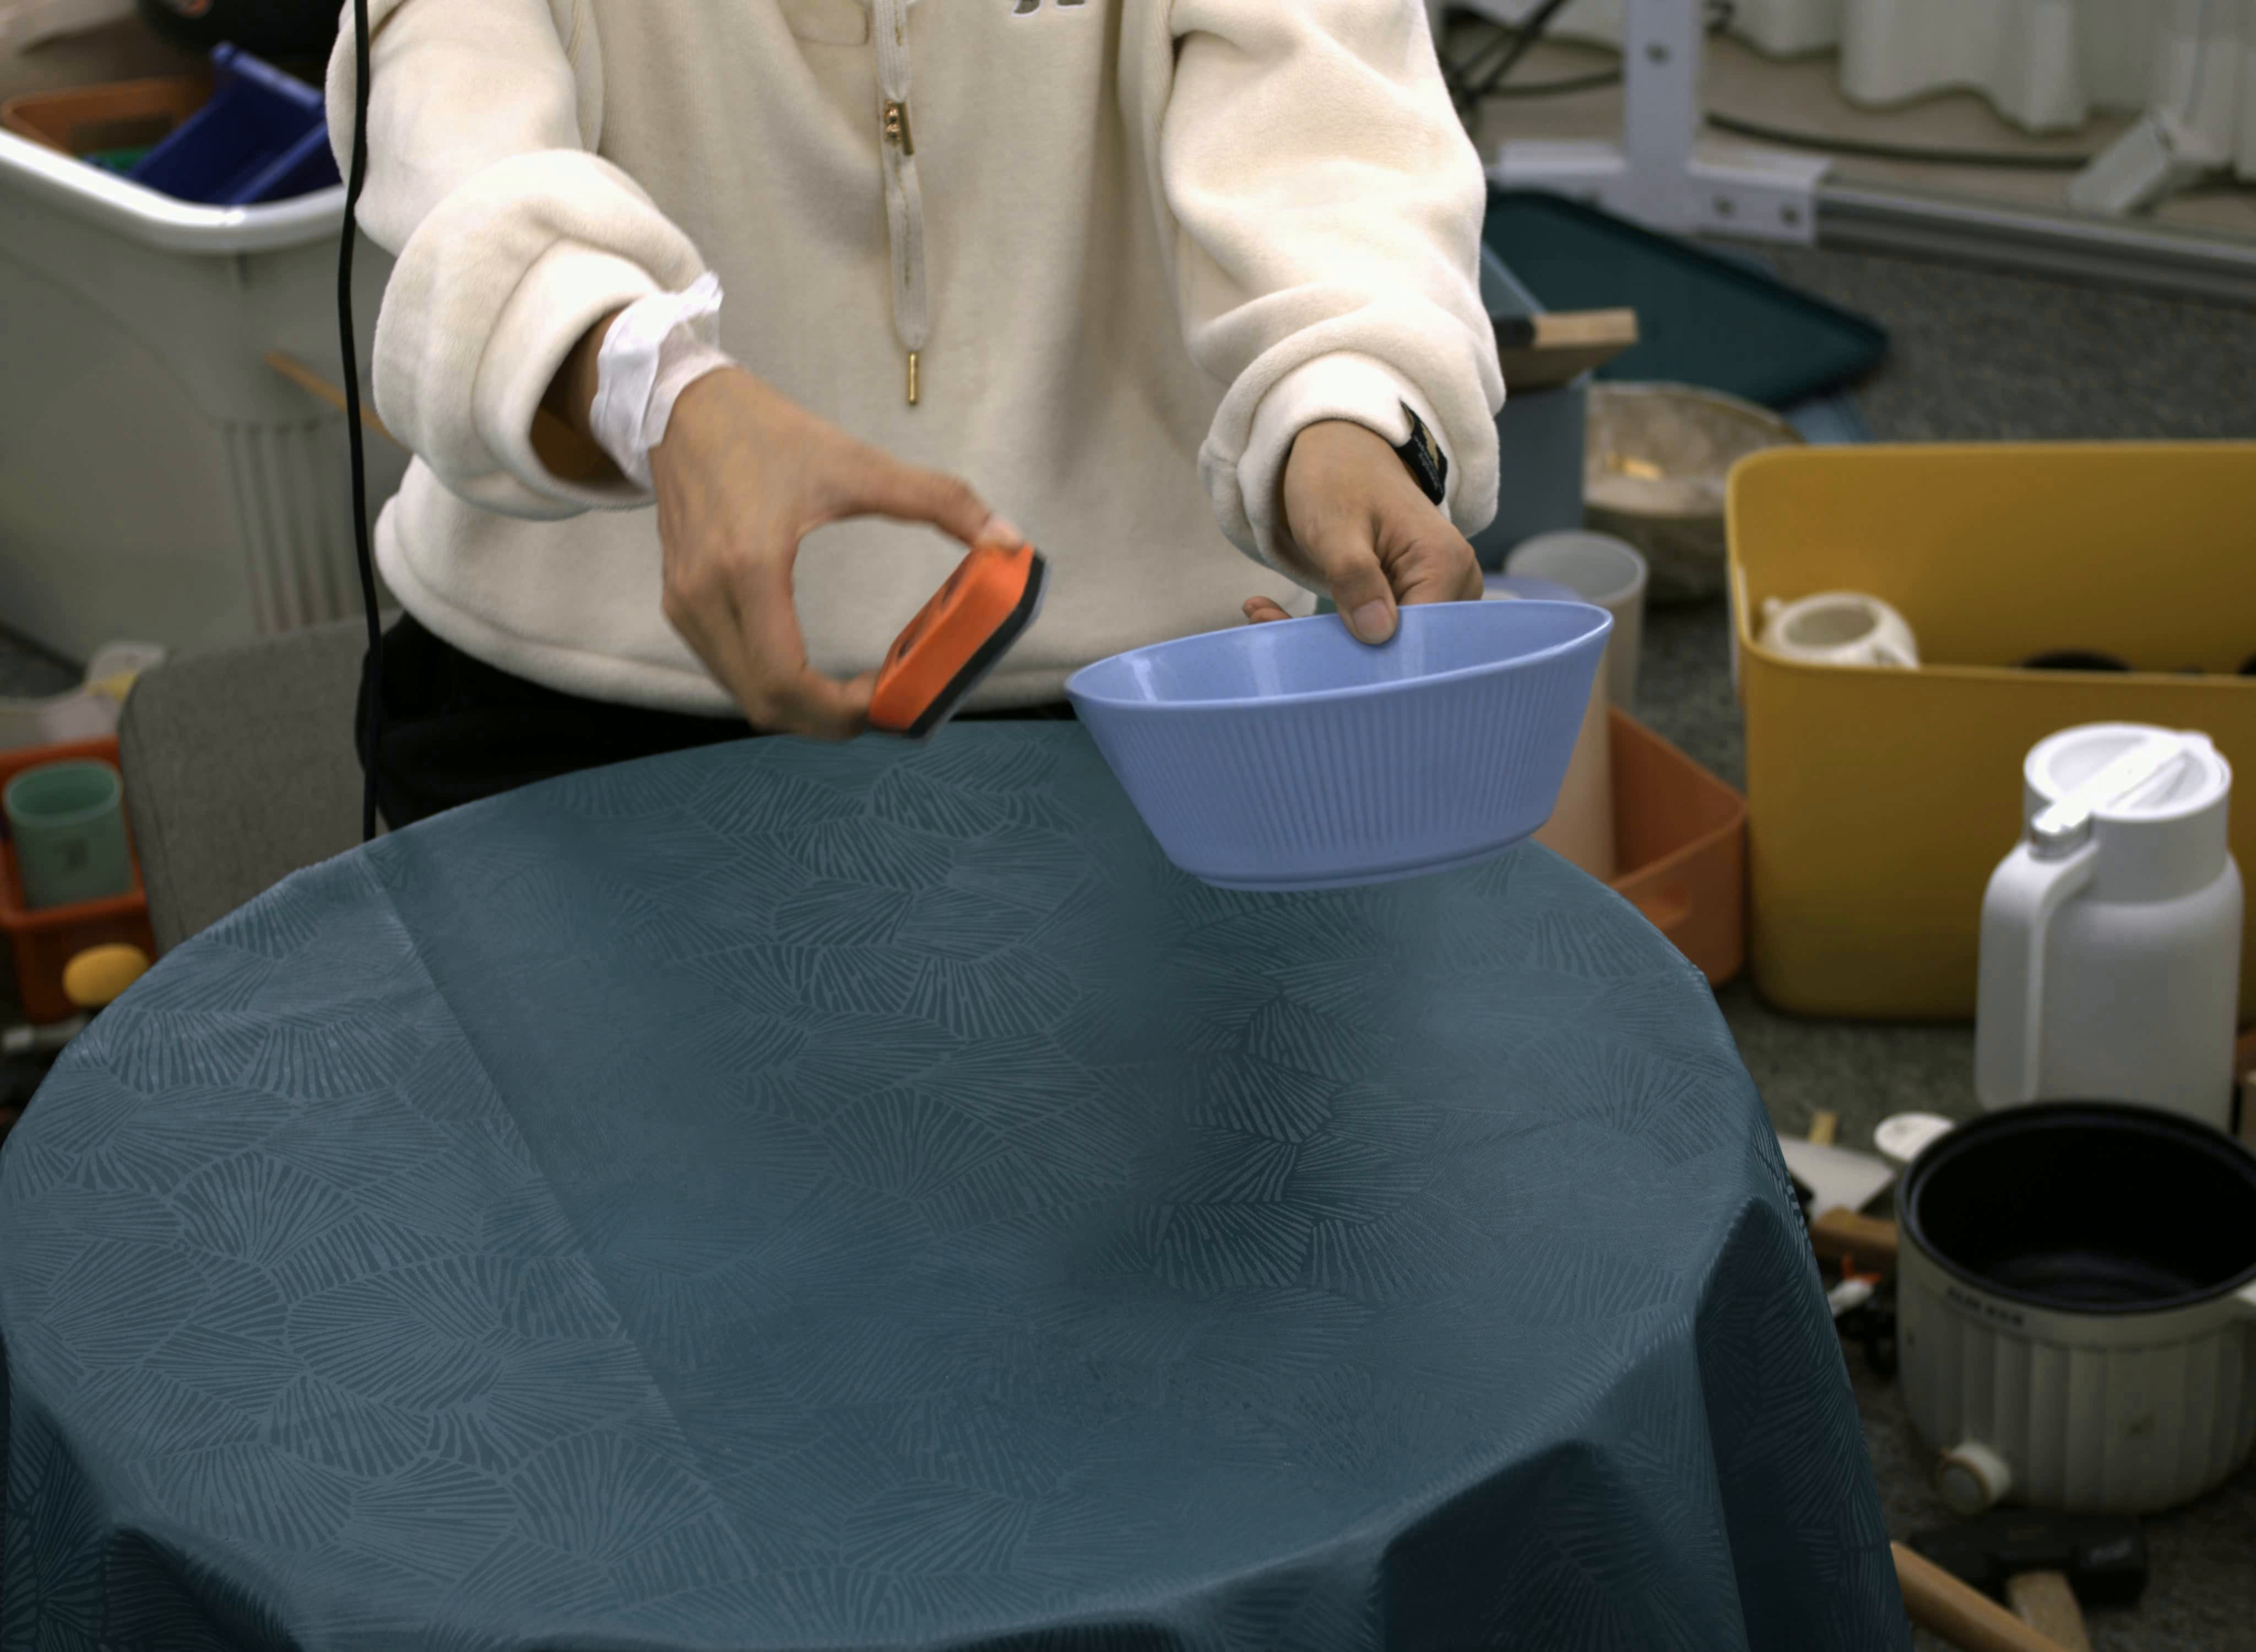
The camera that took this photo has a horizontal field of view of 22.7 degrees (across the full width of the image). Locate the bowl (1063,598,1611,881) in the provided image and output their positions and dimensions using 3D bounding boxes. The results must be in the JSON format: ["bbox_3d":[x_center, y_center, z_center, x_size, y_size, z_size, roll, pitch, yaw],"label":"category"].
[{"bbox_3d":[0.070,-0.026,1.787,0.175,0.070,0.177,-7,9,1],"label":"bowl"}]

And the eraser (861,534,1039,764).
[{"bbox_3d":[-0.056,-0.057,1.788,0.023,0.058,0.109,39,11,-7],"label":"eraser"}]
